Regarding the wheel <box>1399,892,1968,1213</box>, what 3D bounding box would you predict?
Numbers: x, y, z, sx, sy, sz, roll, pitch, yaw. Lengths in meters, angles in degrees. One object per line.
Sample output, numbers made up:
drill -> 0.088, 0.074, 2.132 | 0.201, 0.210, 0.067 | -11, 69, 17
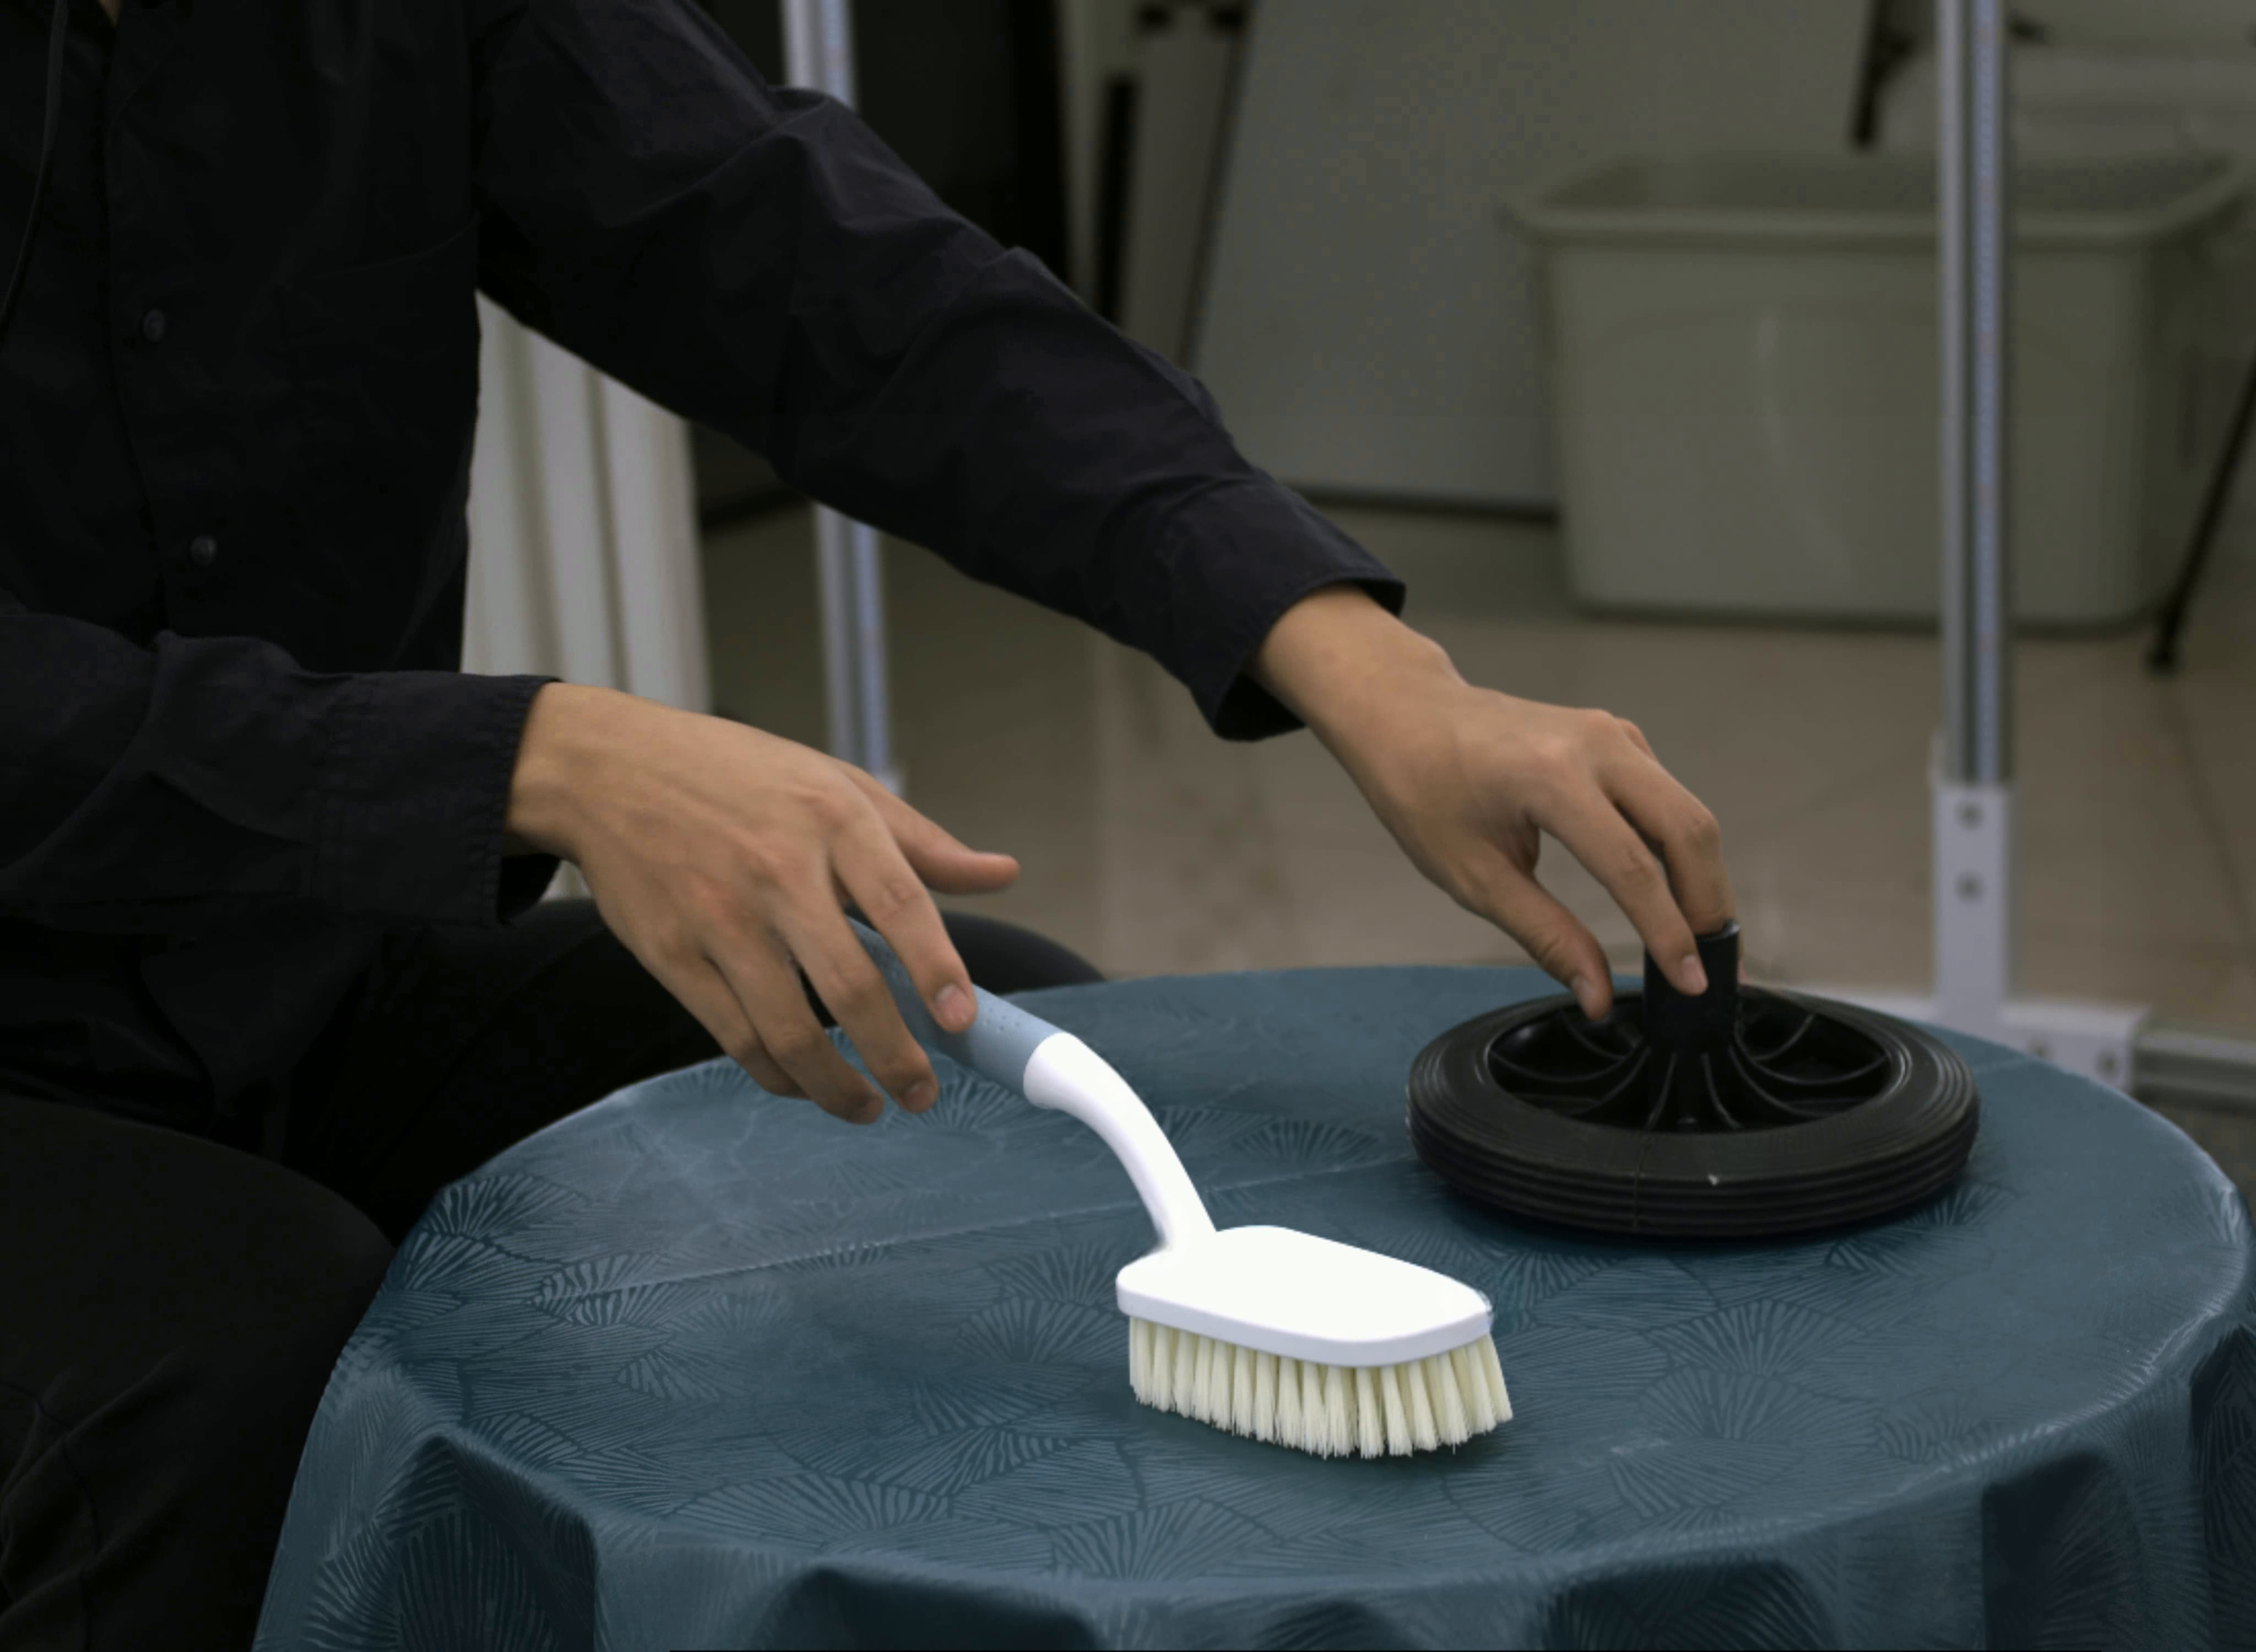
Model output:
wheel -> 0.182, 0.064, 1.770 | 0.186, 0.080, 0.189 | -8, 18, -13

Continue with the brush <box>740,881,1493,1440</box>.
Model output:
brush -> -0.009, 0.113, 1.629 | 0.329, 0.085, 0.082 | 27, -6, 42
